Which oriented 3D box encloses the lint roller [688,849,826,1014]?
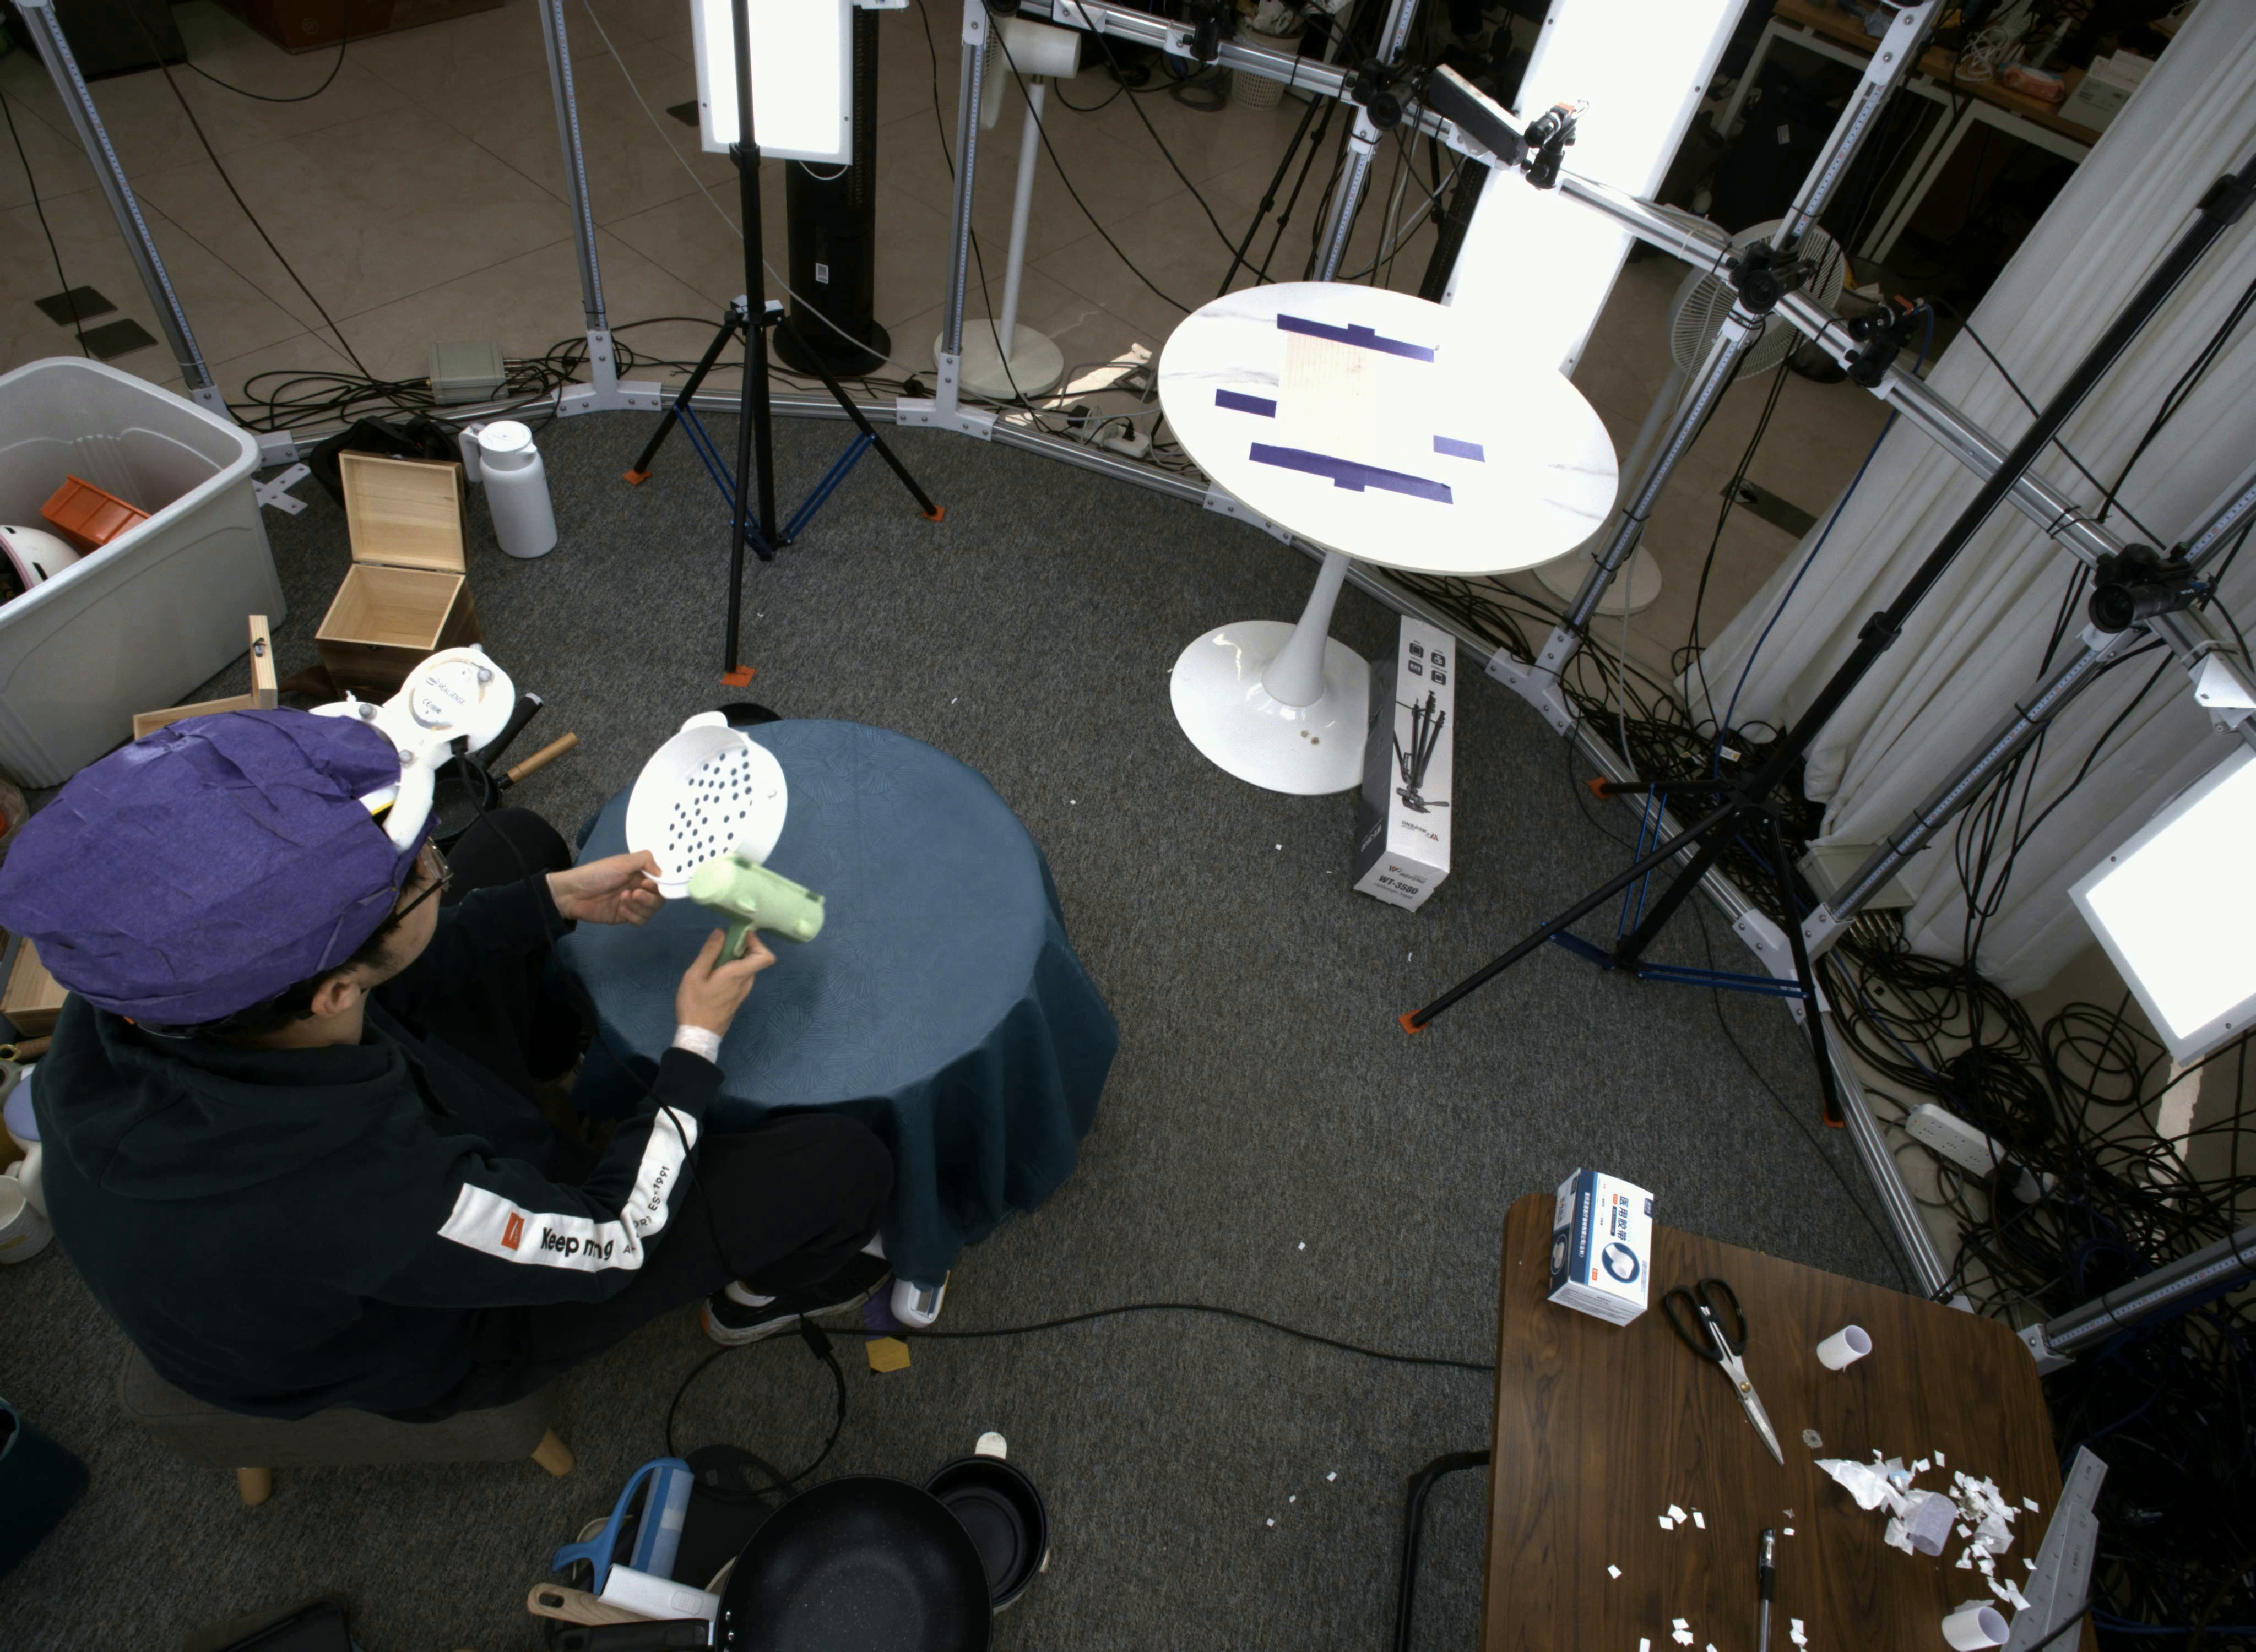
[{"bbox_3d":[-0.435,0.136,1.473,0.079,0.204,0.184,19,80,25],"label":"lint roller"}]

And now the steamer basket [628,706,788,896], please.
[{"bbox_3d":[-0.493,-0.023,1.513,0.197,0.071,0.229,-7,69,22],"label":"steamer basket"}]
